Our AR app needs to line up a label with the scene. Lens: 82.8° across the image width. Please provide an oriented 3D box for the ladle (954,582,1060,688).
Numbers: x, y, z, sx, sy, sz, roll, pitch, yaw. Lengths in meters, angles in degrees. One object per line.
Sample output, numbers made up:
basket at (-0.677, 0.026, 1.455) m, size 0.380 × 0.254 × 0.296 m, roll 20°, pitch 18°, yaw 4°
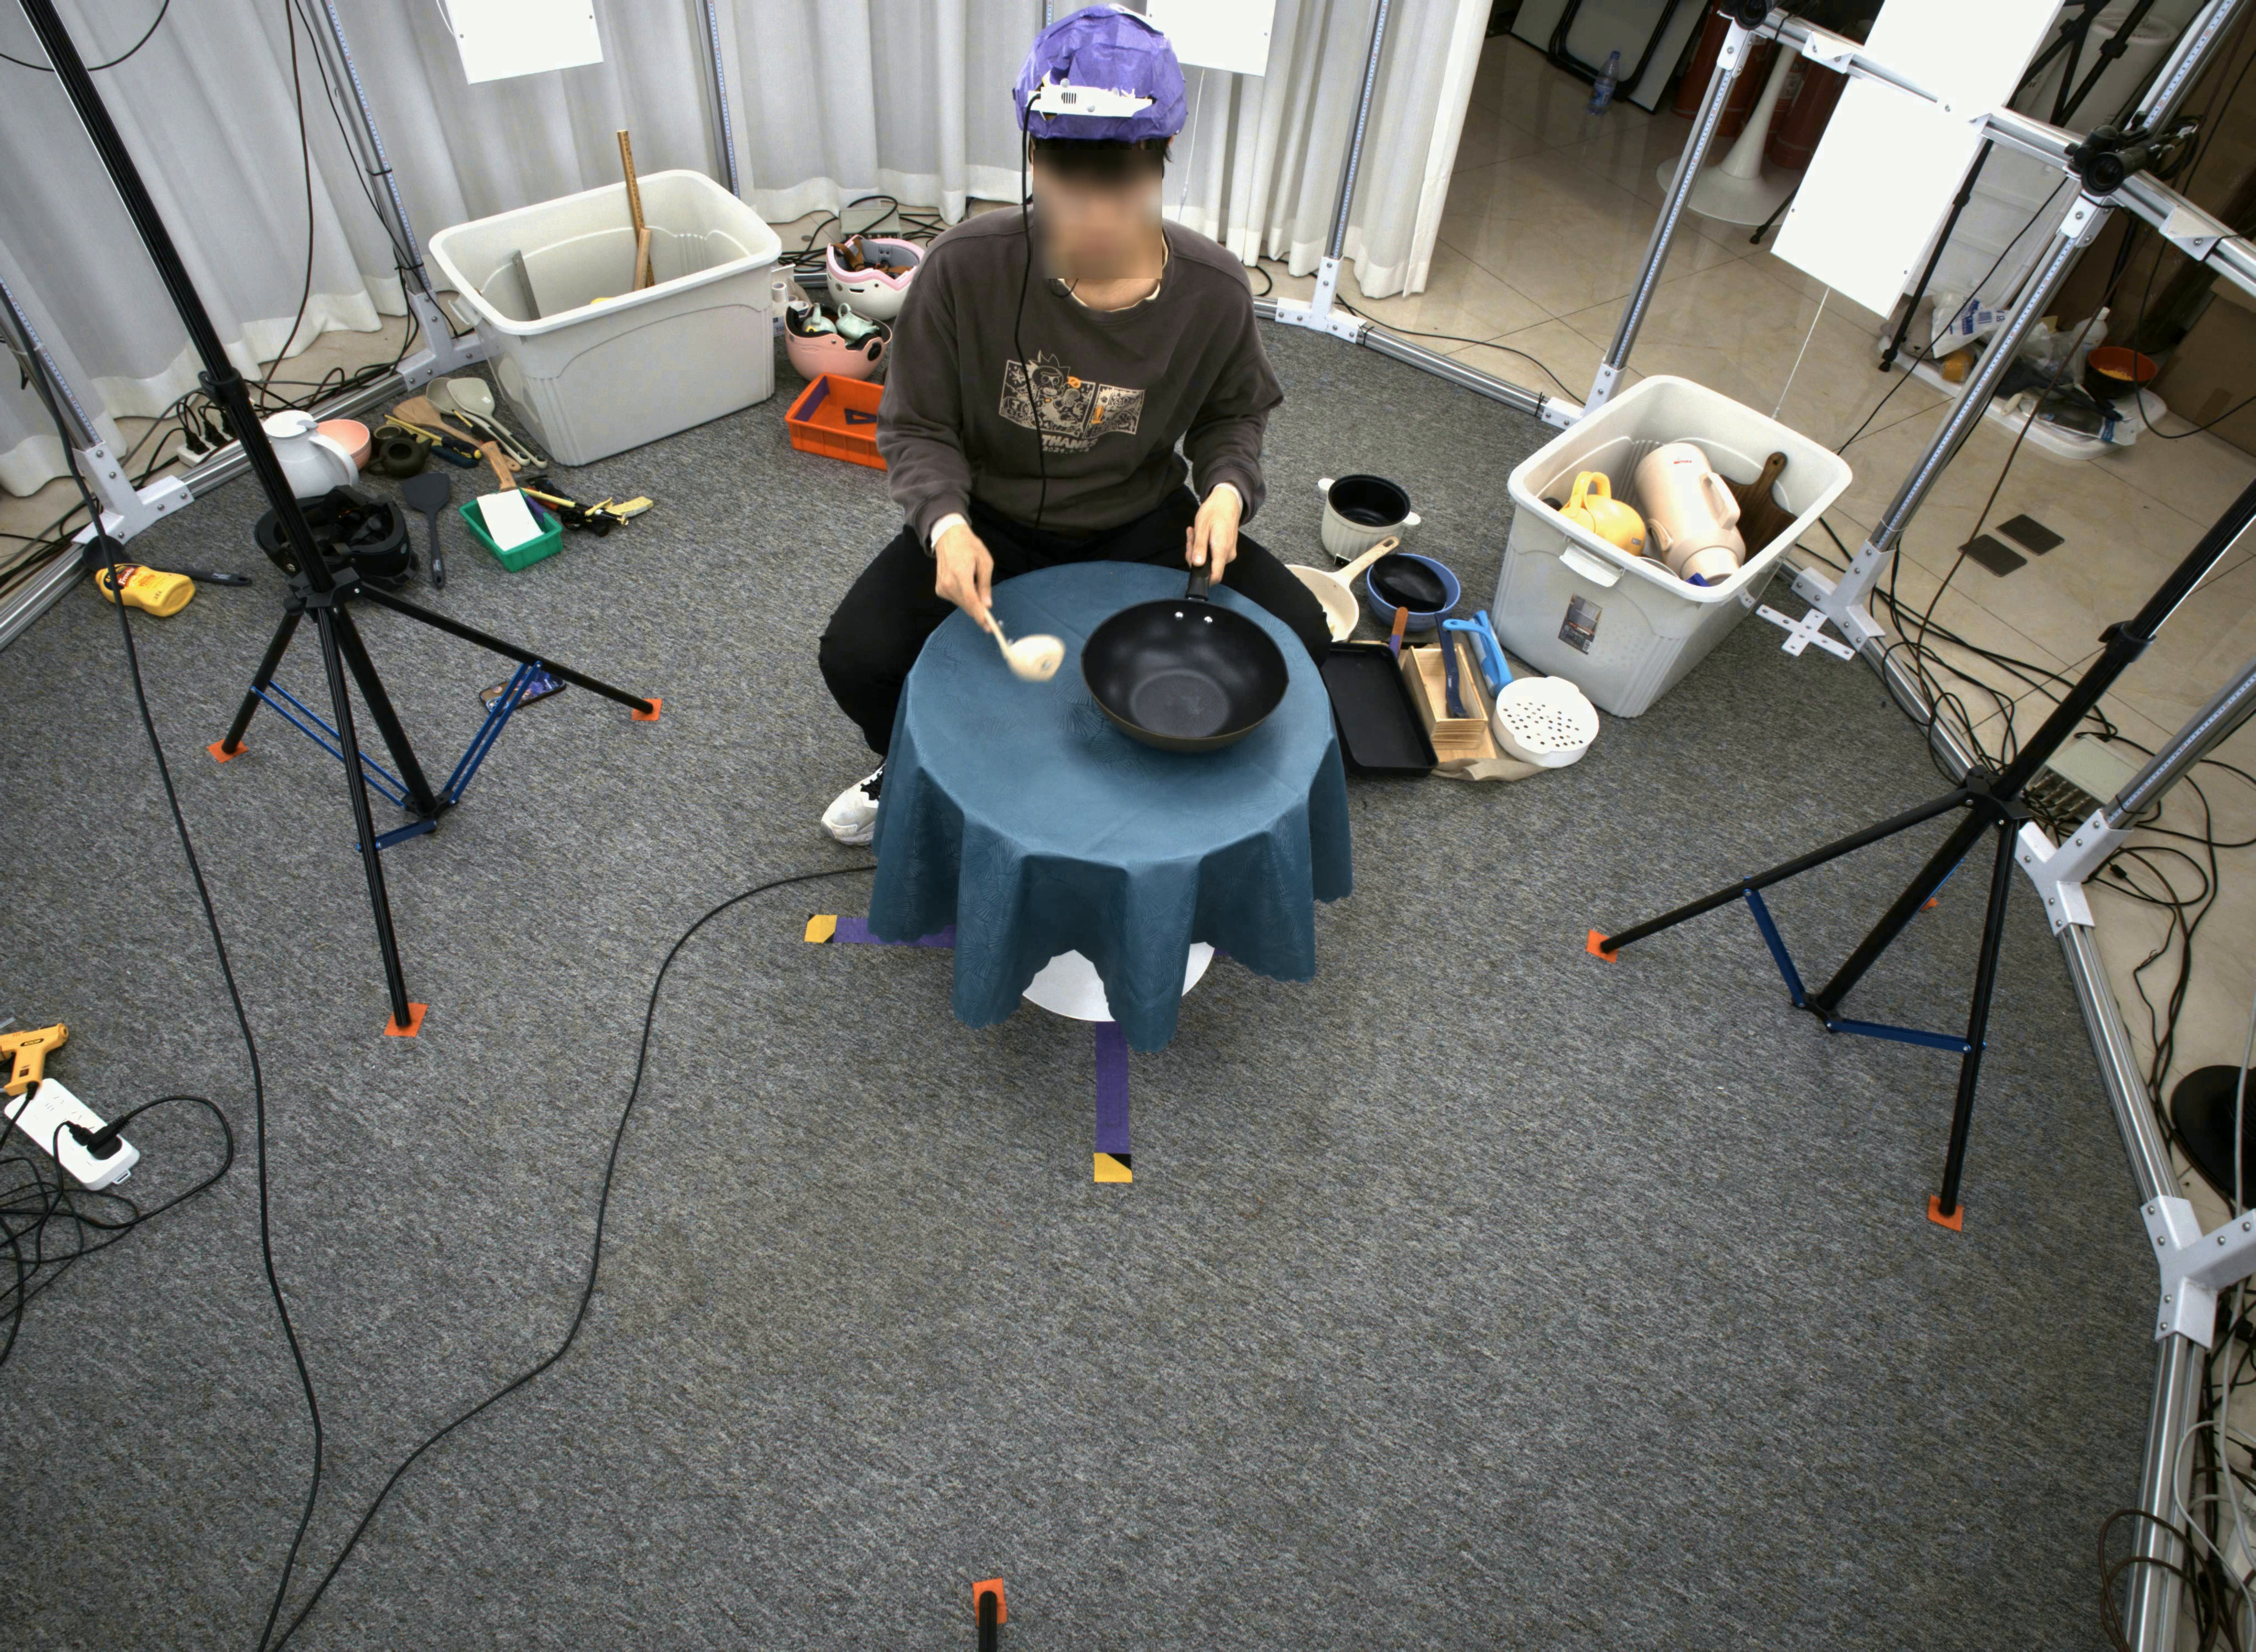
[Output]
ladle at (-0.167, -0.283, 1.750) m, size 0.071 × 0.072 × 0.260 m, roll 24°, pitch 26°, yaw -47°

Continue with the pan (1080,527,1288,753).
pan at (0.088, -0.264, 1.847) m, size 0.288 × 0.085 × 0.474 m, roll 8°, pitch 48°, yaw 4°
